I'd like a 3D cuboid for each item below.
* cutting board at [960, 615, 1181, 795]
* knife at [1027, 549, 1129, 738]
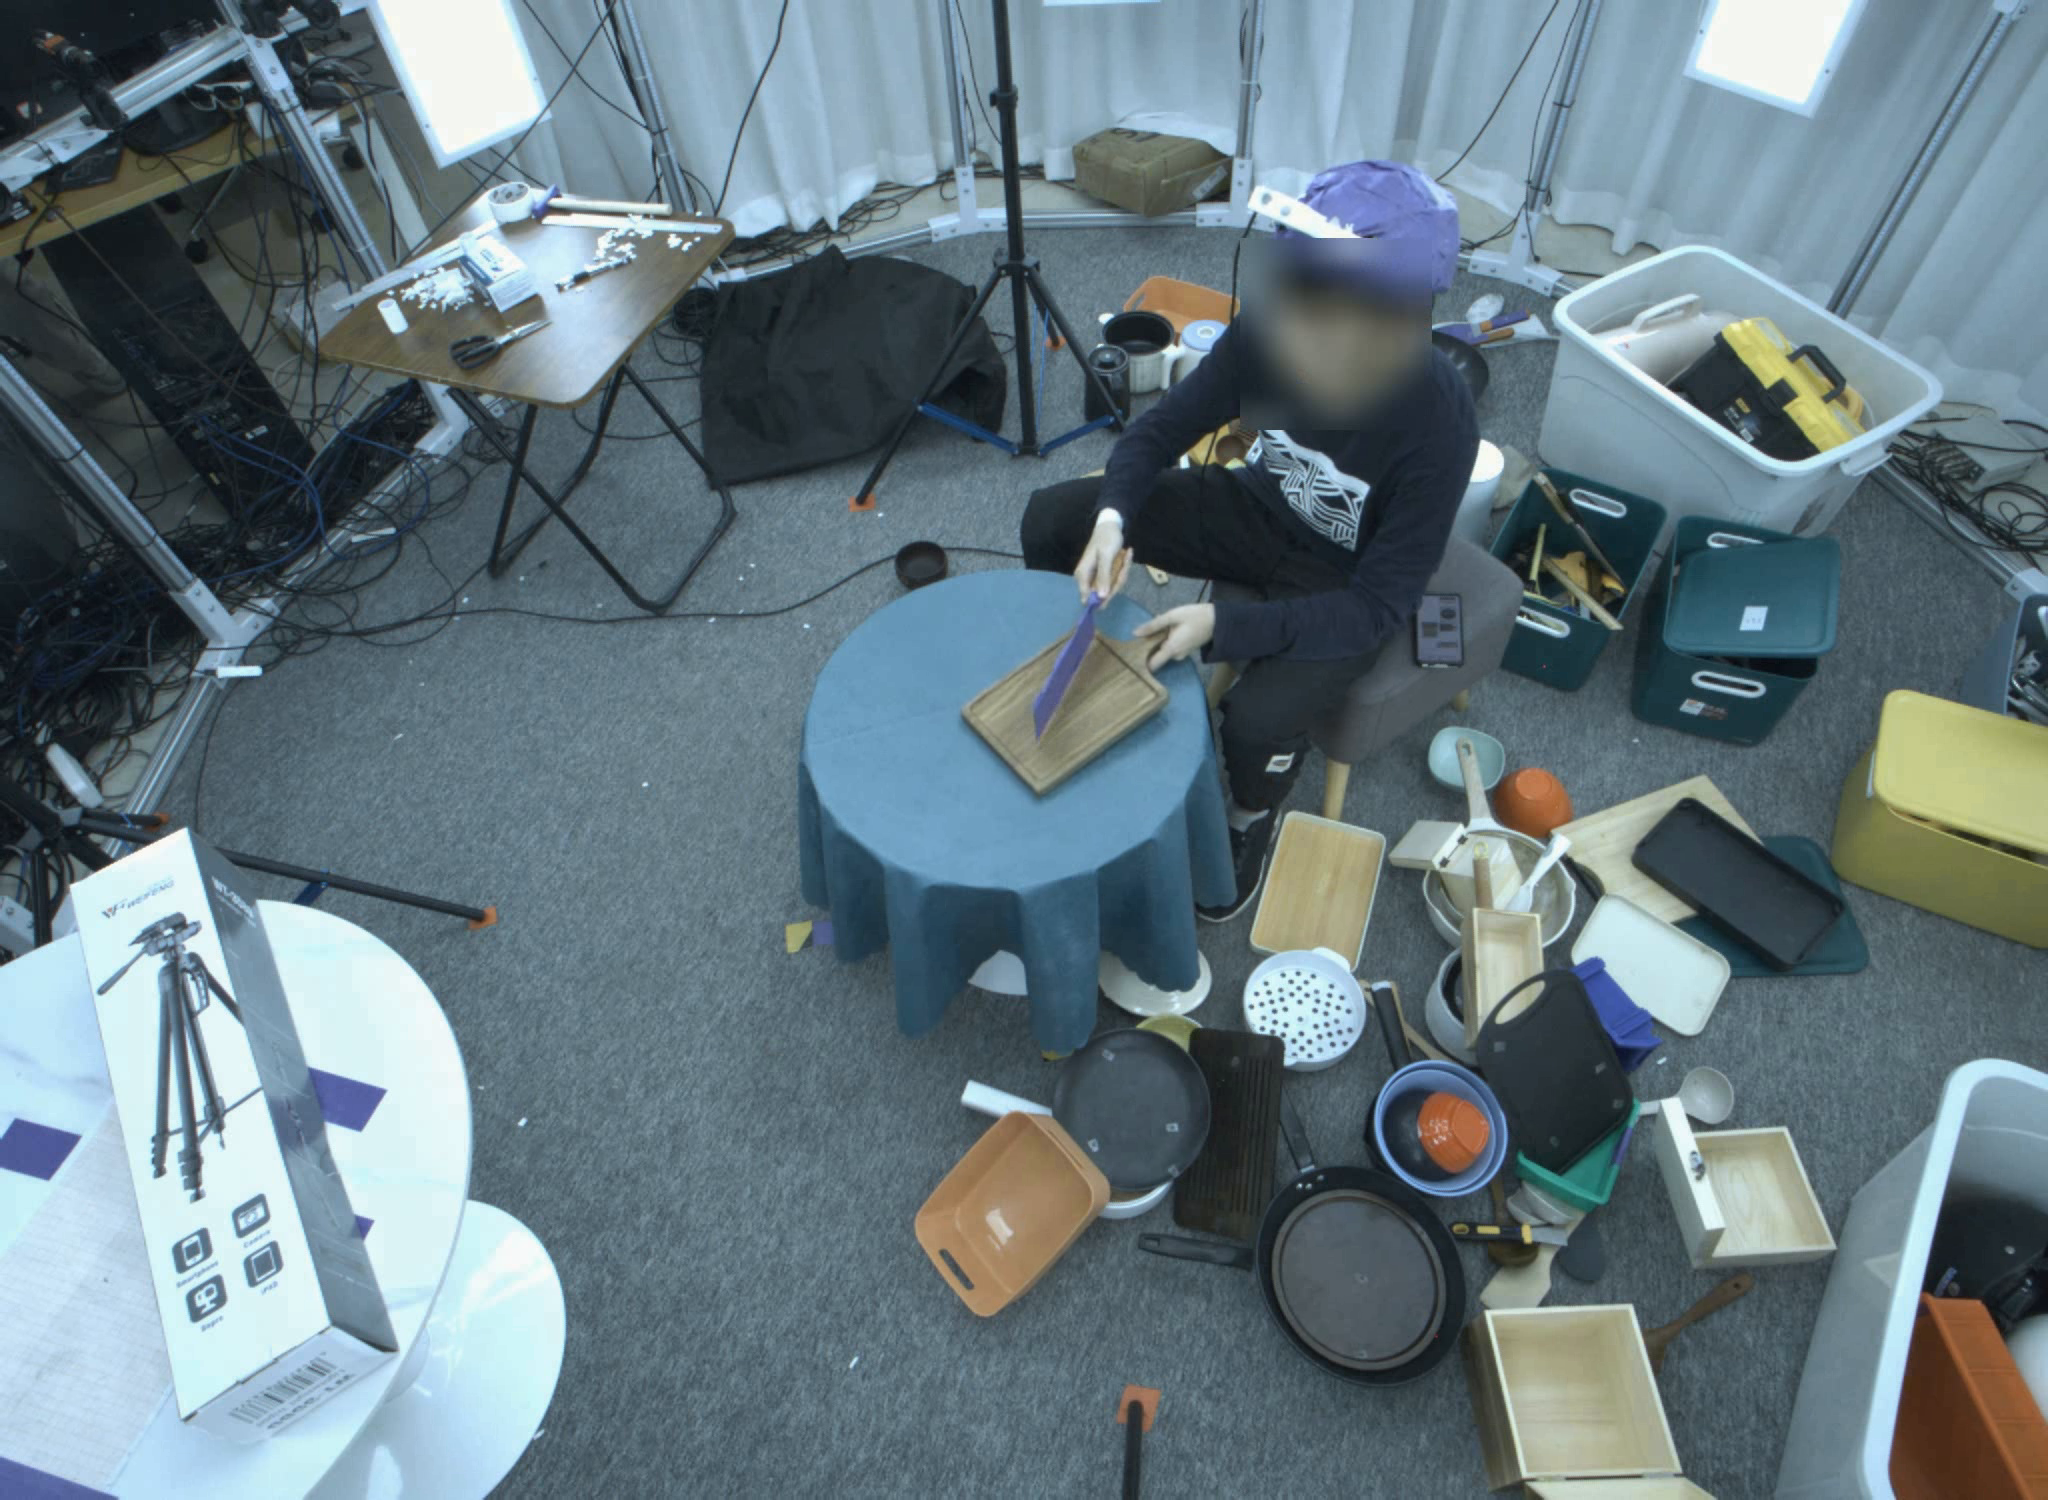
[{"bbox_3d":[0.098,-0.095,1.828,0.354,0.023,0.197,-36,61,-16],"label":"cutting board"},{"bbox_3d":[0.076,-0.157,1.800,0.032,0.105,0.315,22,62,15],"label":"knife"}]
